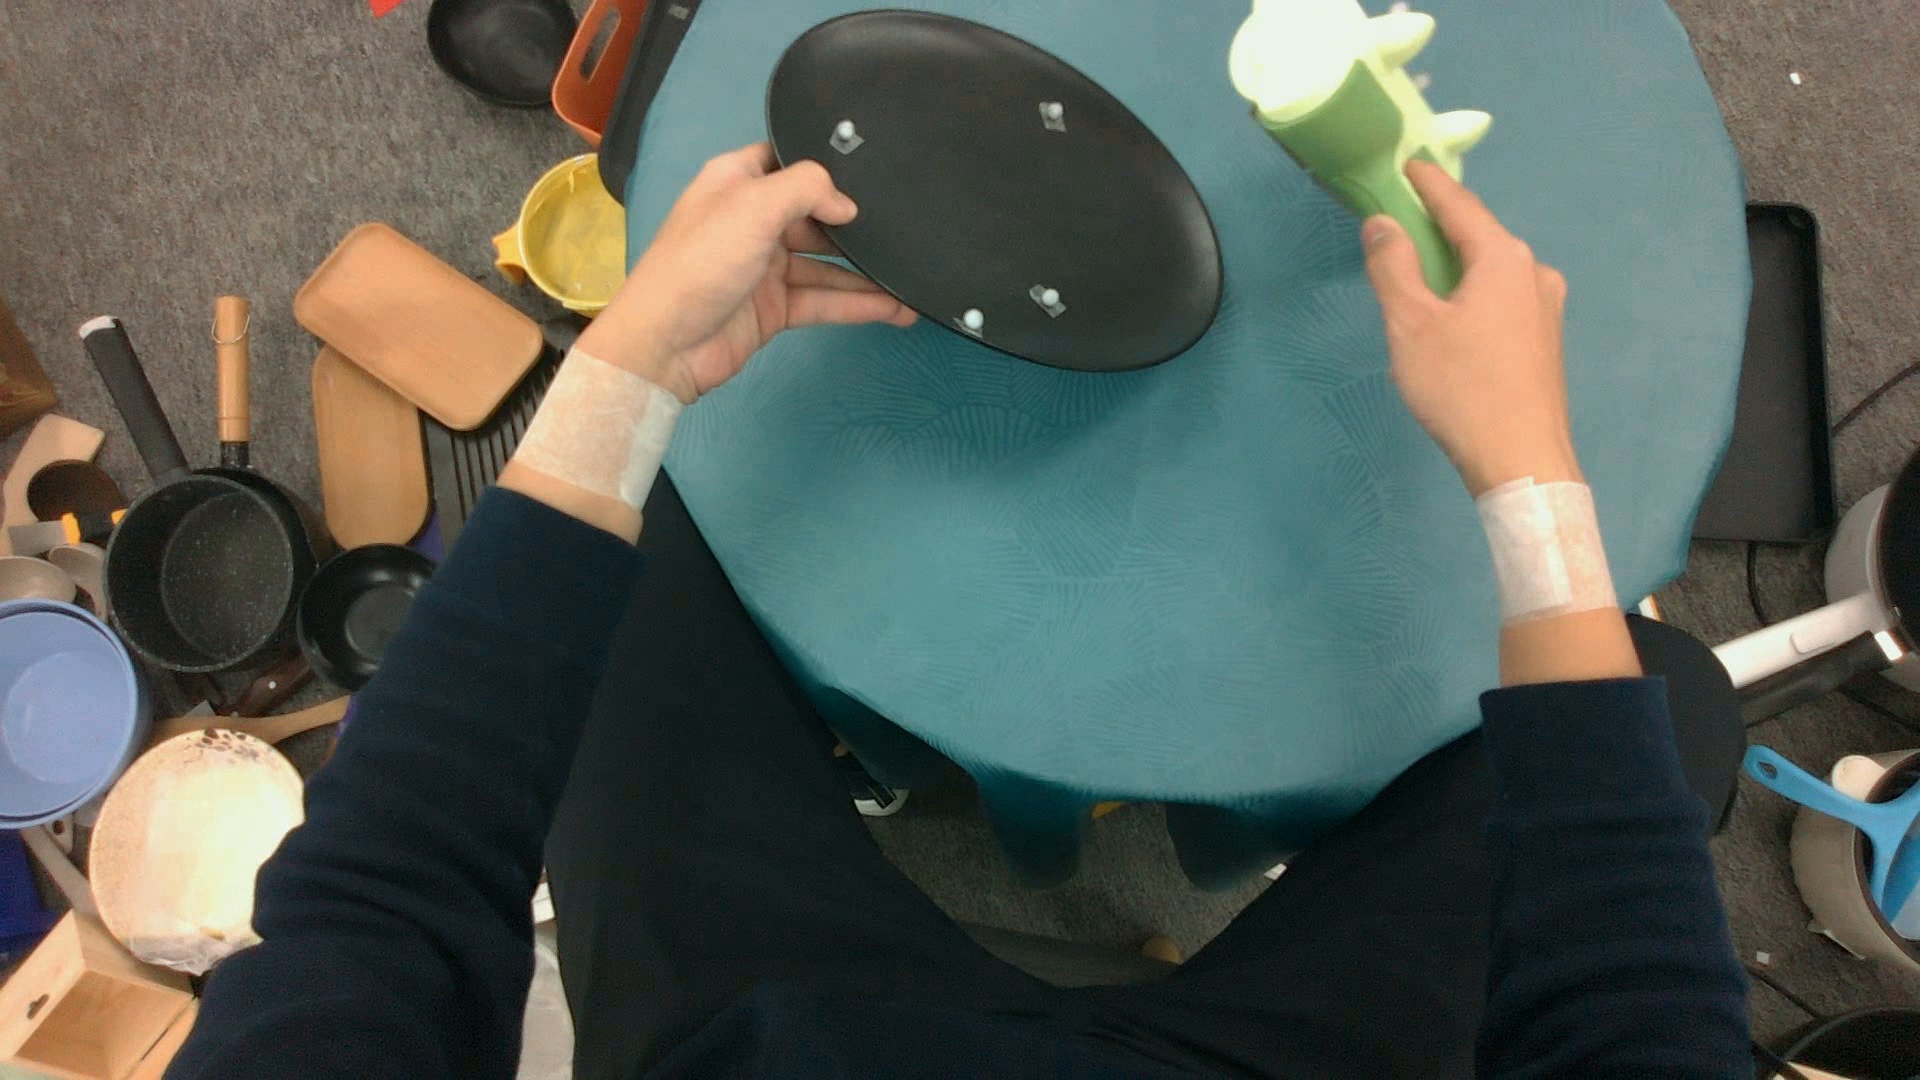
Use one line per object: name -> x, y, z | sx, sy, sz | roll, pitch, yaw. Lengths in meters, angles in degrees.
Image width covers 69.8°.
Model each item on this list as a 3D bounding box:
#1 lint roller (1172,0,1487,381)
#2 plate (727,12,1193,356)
lint roller -> 0.189, -0.159, 0.607 | 0.082, 0.199, 0.183 | -45, 68, 21
plate -> 0.003, -0.172, 0.671 | 0.244, 0.023, 0.245 | 16, 46, -17
